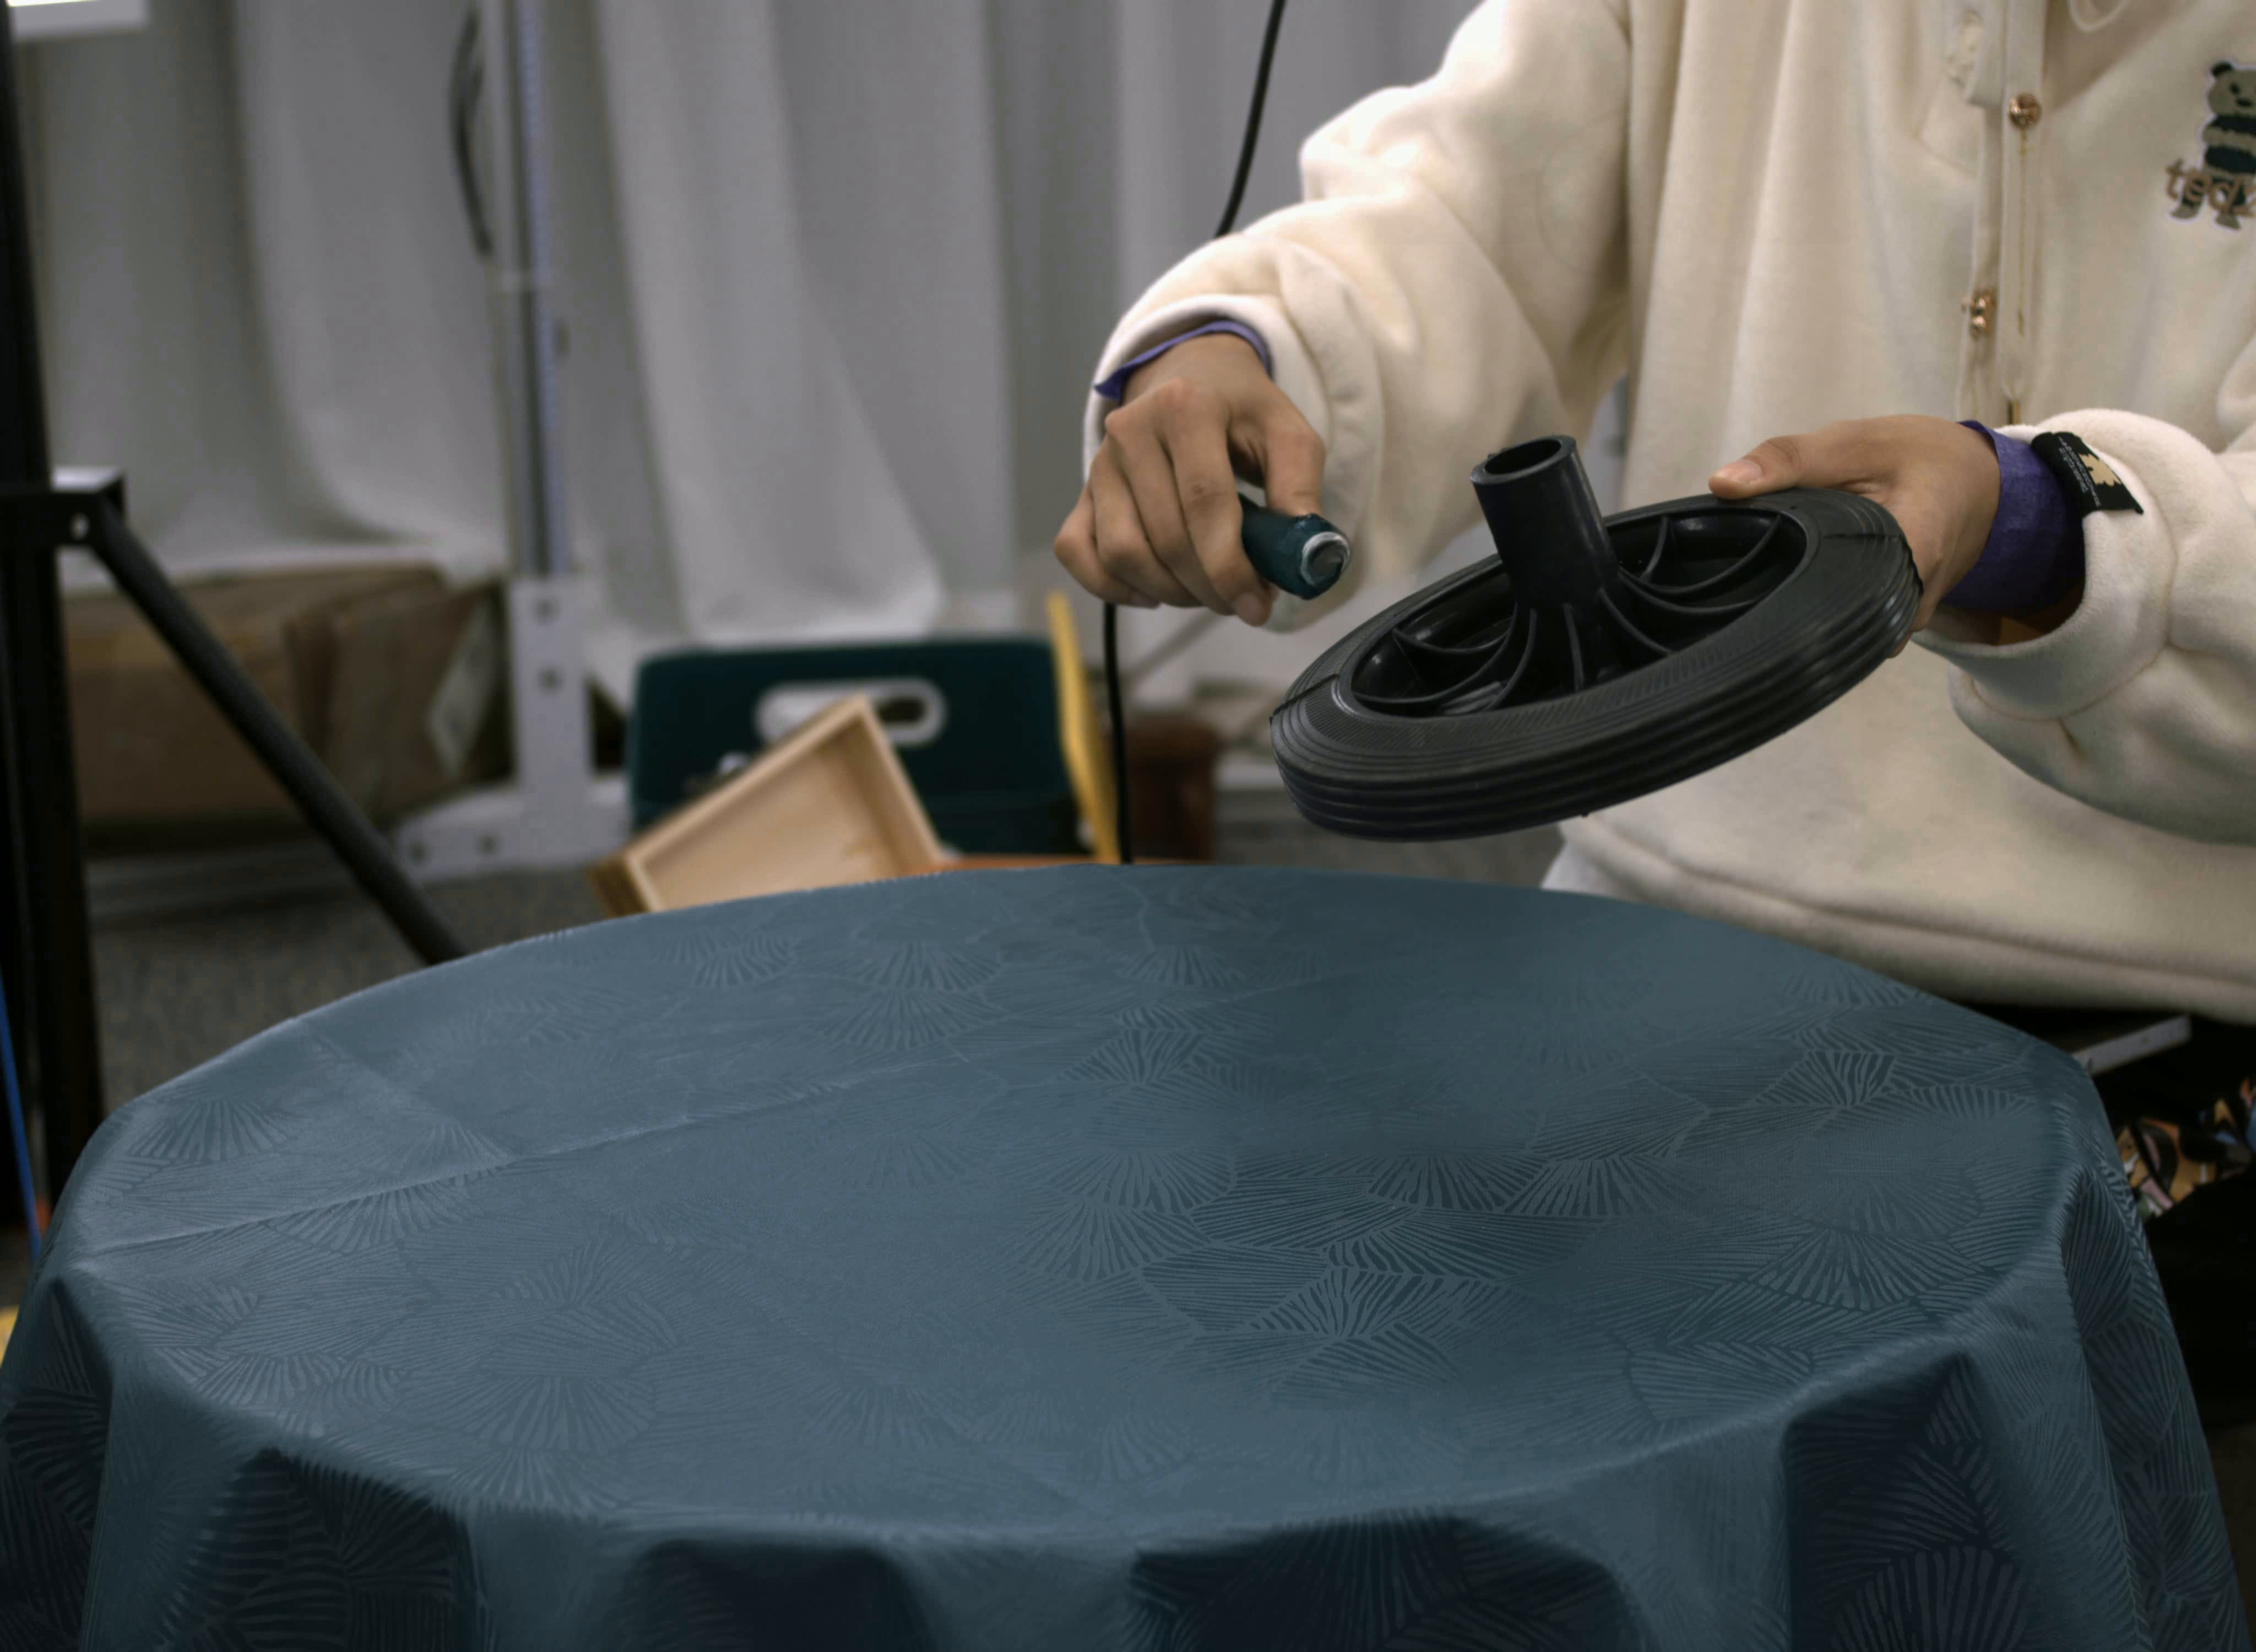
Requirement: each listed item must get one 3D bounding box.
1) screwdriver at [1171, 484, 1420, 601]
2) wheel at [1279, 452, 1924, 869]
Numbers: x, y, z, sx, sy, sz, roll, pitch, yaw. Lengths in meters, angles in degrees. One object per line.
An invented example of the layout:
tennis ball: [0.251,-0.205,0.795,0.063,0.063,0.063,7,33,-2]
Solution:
screwdriver: [0.055,-0.083,1.652,0.033,0.034,0.193,-7,11,-18]
wheel: [0.124,-0.061,1.482,0.191,0.078,0.187,1,31,49]
